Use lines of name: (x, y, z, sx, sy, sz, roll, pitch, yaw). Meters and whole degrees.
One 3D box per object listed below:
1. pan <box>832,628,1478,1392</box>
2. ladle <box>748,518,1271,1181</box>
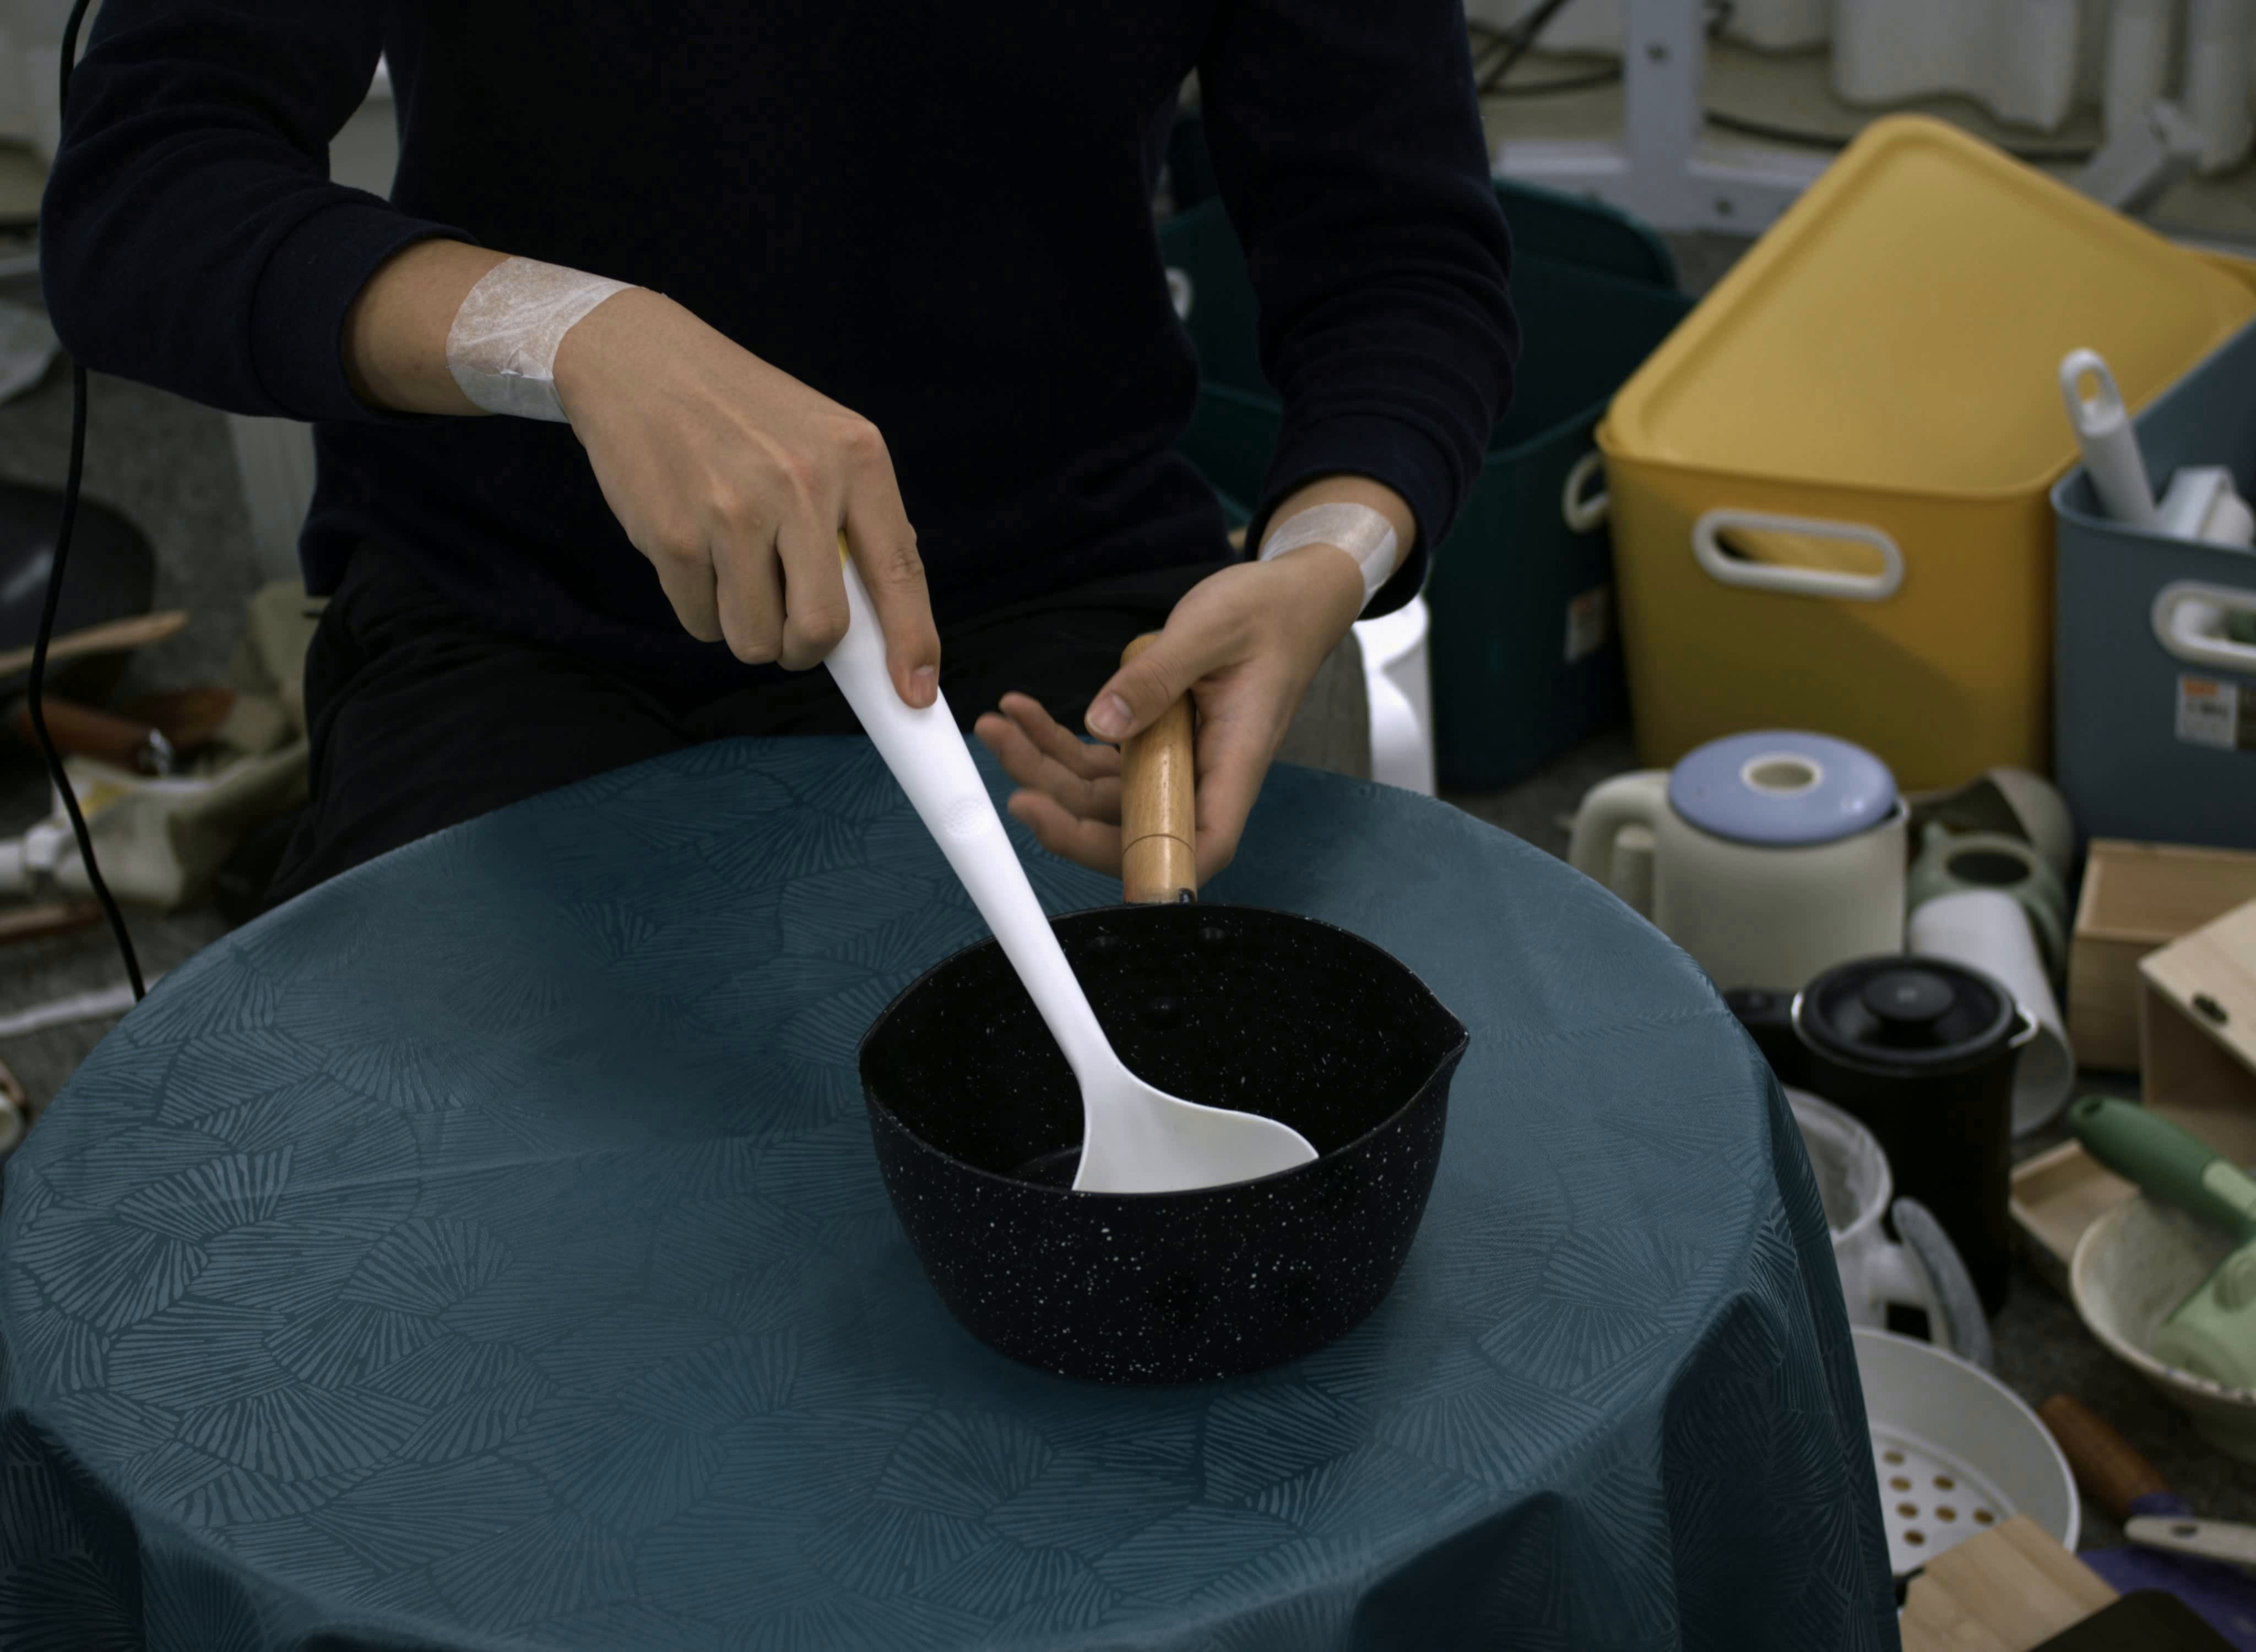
pan: (0.009, 0.057, 1.869, 0.206, 0.107, 0.348, -4, 29, 1)
ladle: (-0.044, 0.030, 1.808, 0.090, 0.295, 0.069, -28, -9, -2)
